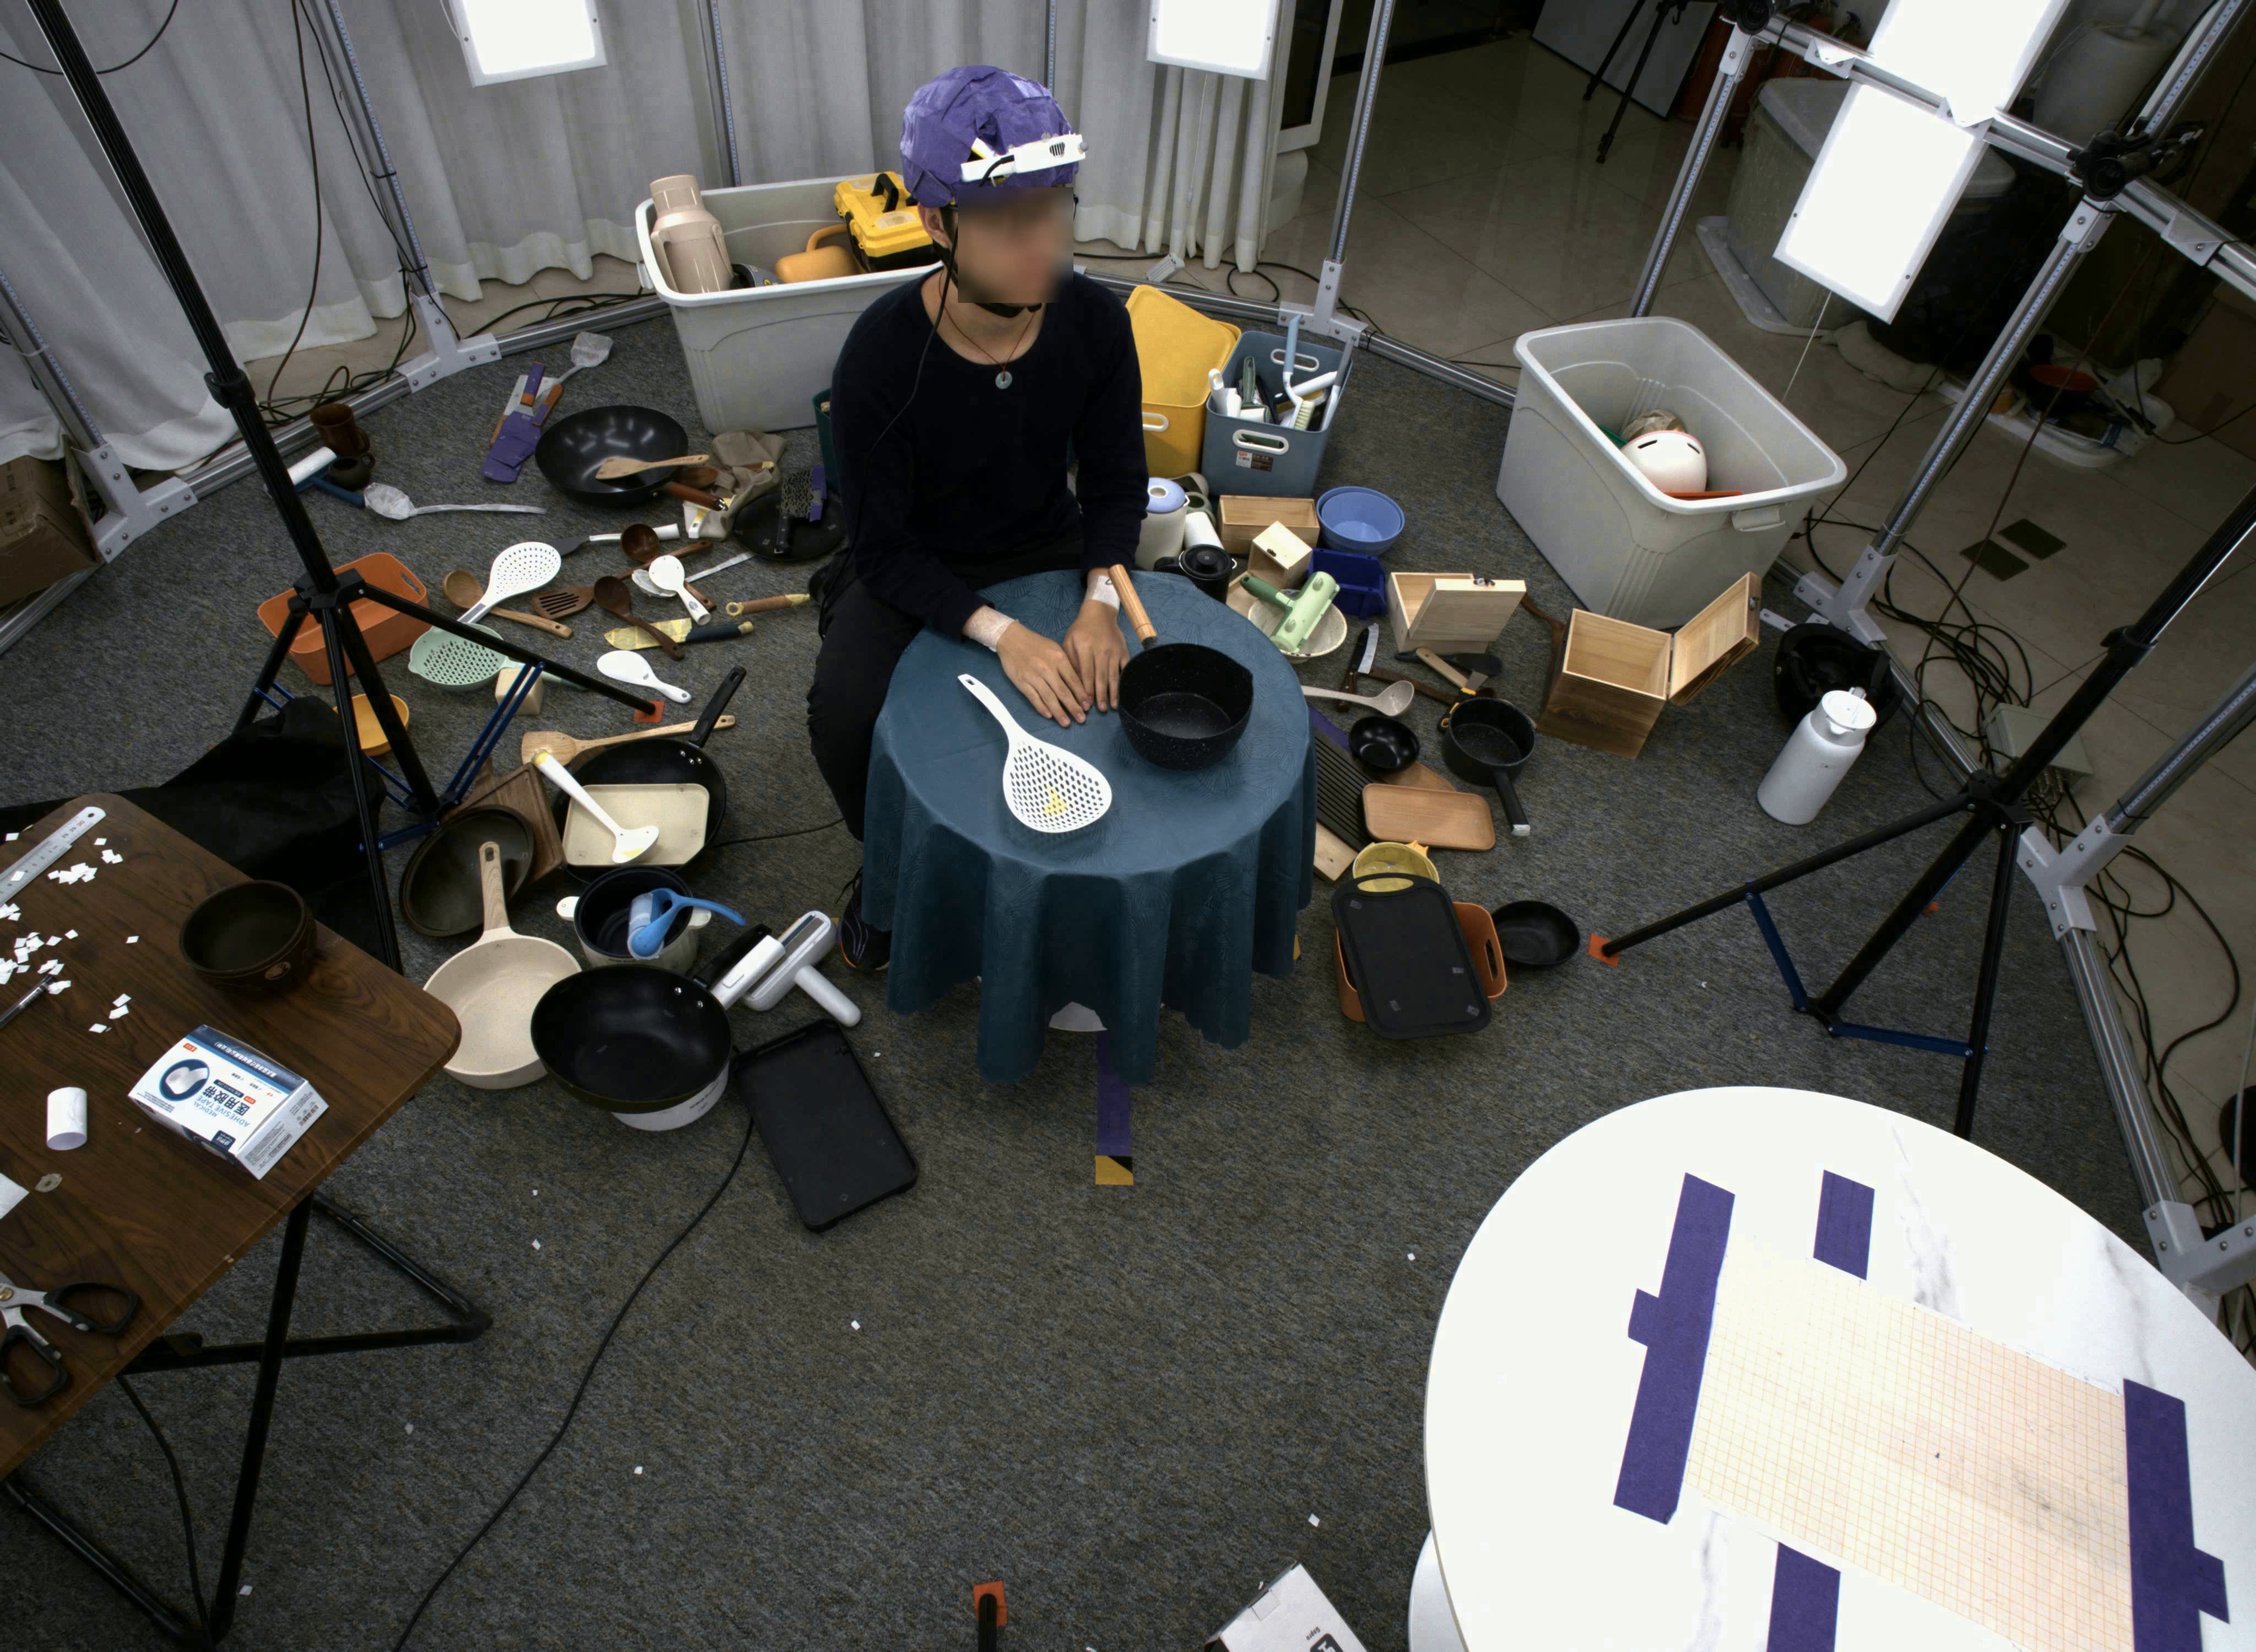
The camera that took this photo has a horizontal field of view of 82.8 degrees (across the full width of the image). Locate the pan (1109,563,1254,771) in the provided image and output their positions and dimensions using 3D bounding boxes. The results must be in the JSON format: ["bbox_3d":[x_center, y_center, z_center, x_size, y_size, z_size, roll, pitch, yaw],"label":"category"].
[{"bbox_3d":[0.044,-0.223,1.796,0.208,0.105,0.350,-17,54,-17],"label":"pan"}]

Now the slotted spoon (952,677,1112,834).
[{"bbox_3d":[-0.147,-0.107,1.724,0.137,0.049,0.355,-23,56,-21],"label":"slotted spoon"}]
